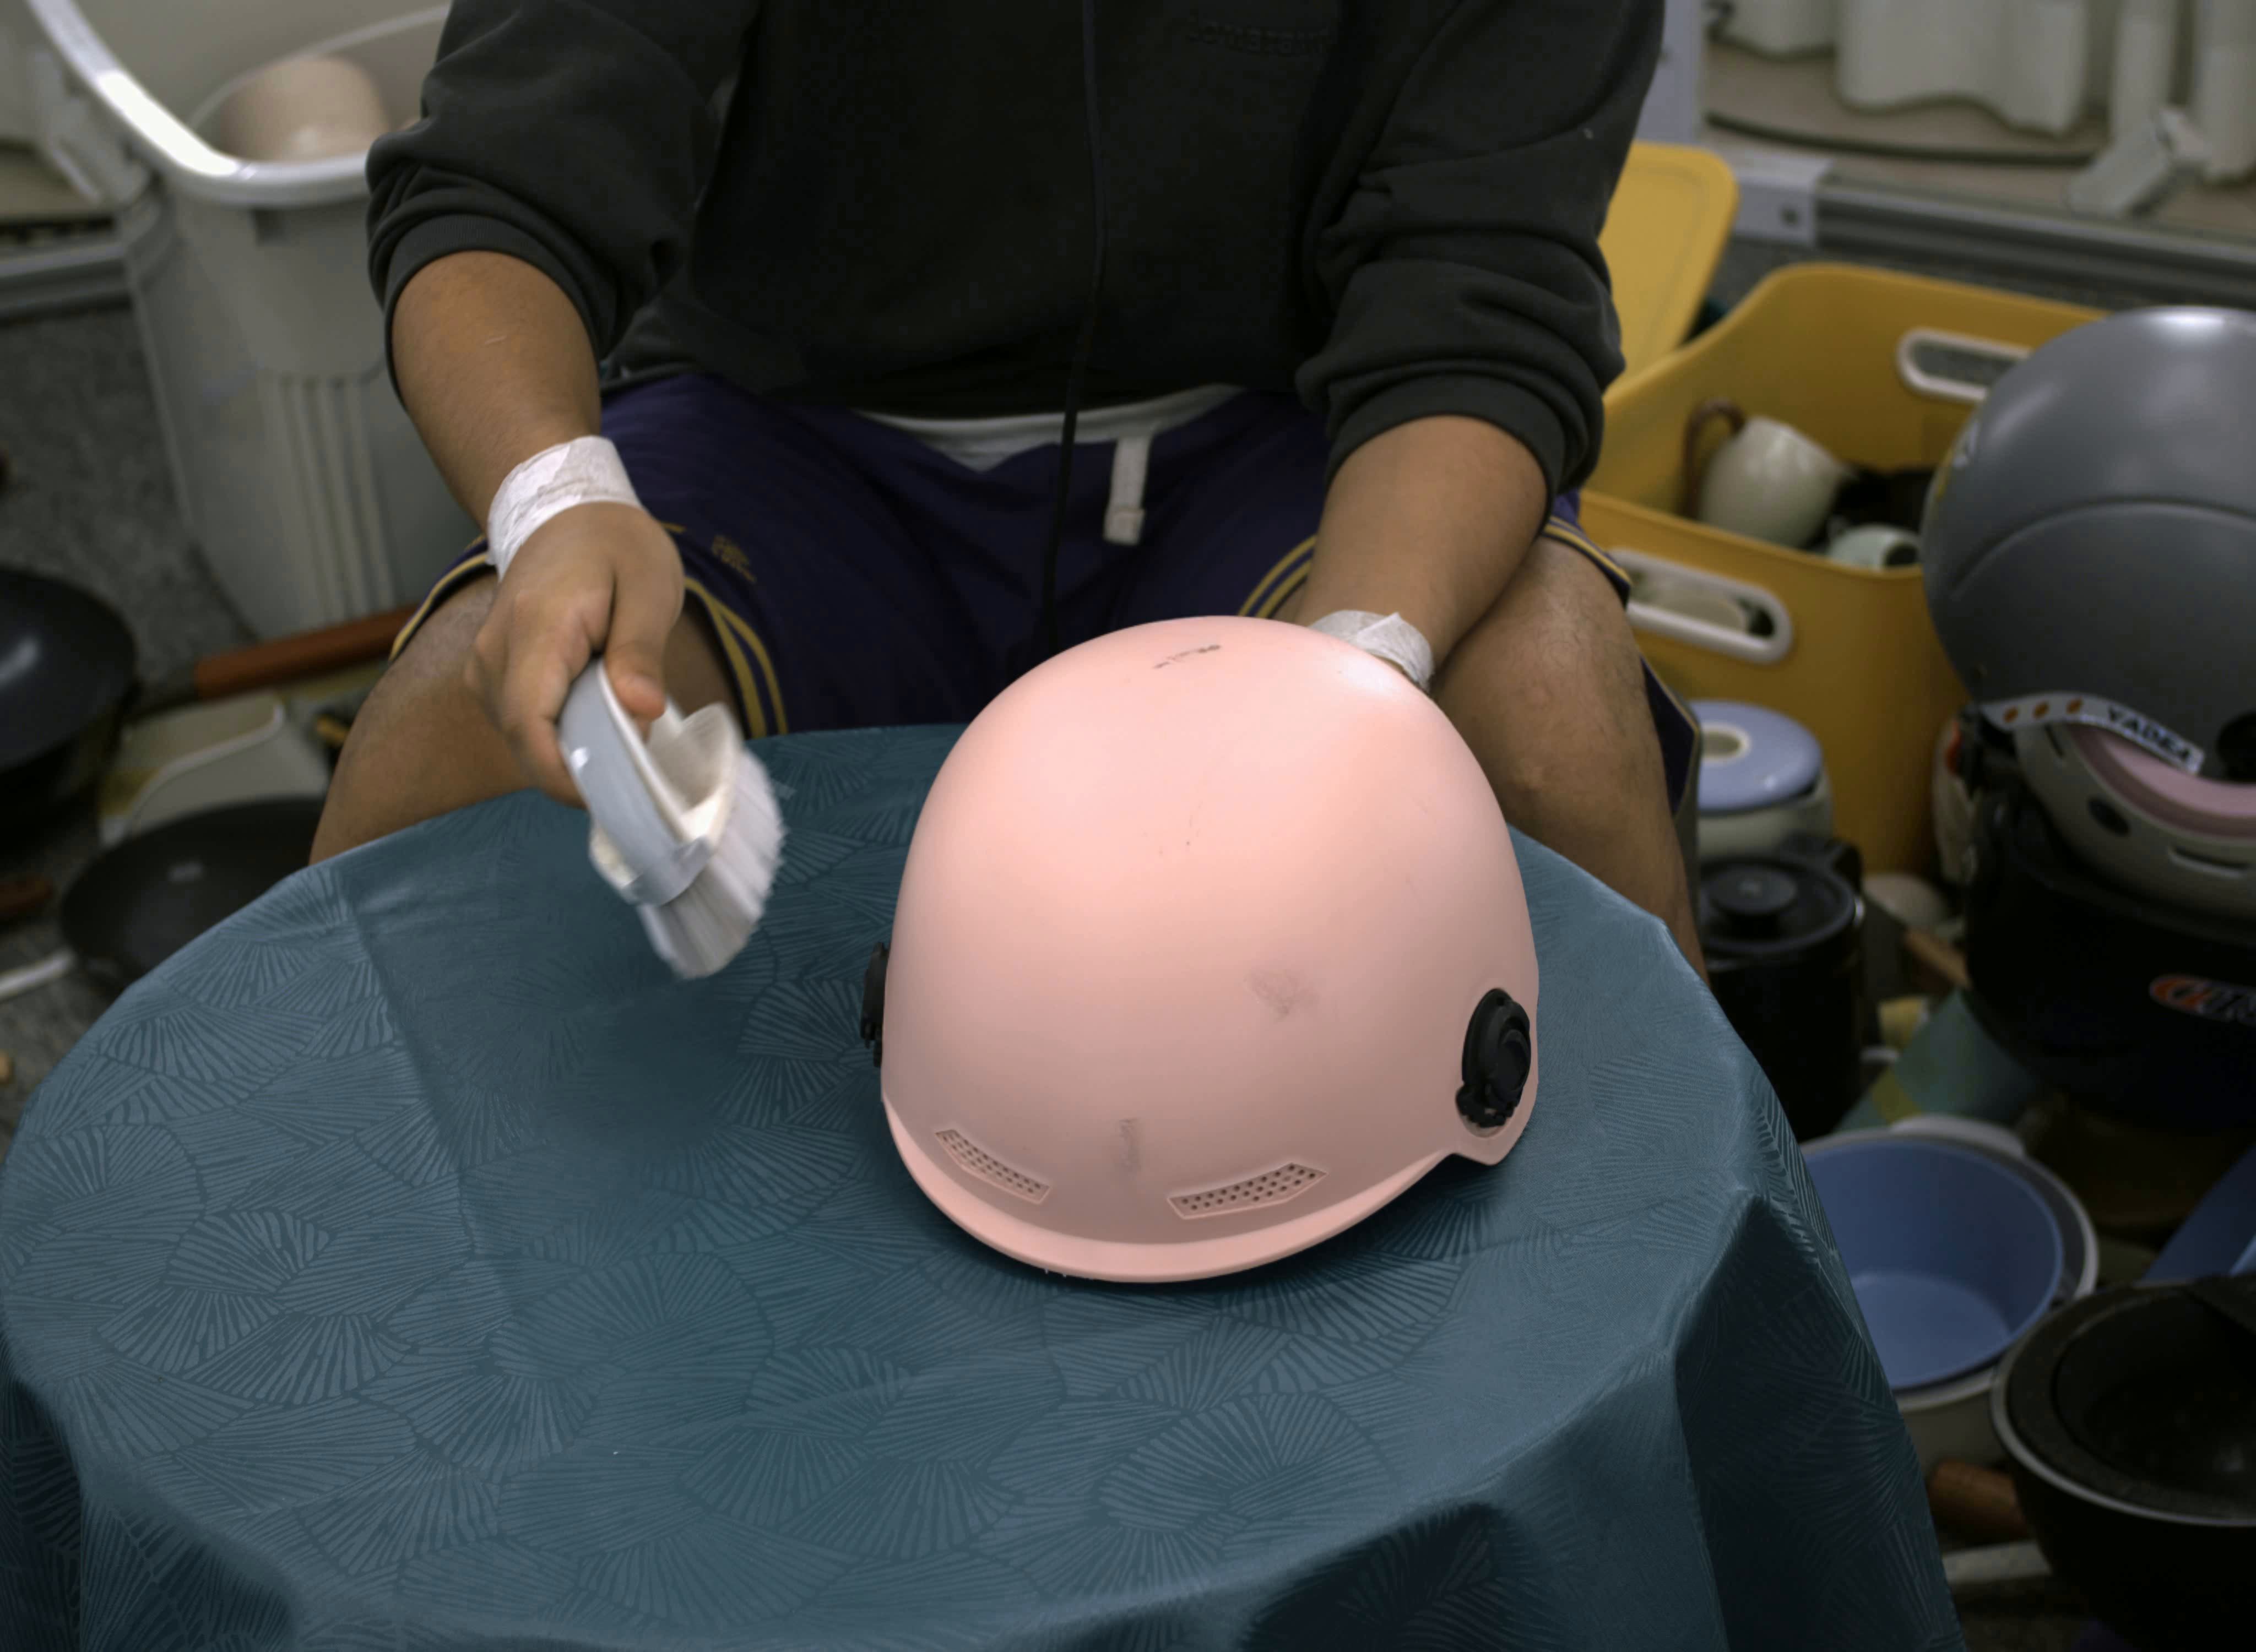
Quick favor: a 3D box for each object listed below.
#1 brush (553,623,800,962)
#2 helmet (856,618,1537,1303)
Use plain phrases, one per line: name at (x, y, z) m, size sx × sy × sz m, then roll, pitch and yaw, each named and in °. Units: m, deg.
brush at (-0.159, -0.017, 1.926) m, size 0.061 × 0.094 × 0.177 m, roll -36°, pitch 20°, yaw 8°
helmet at (0.023, 0.025, 1.884) m, size 0.232 × 0.157 × 0.271 m, roll 5°, pitch 33°, yaw 14°
